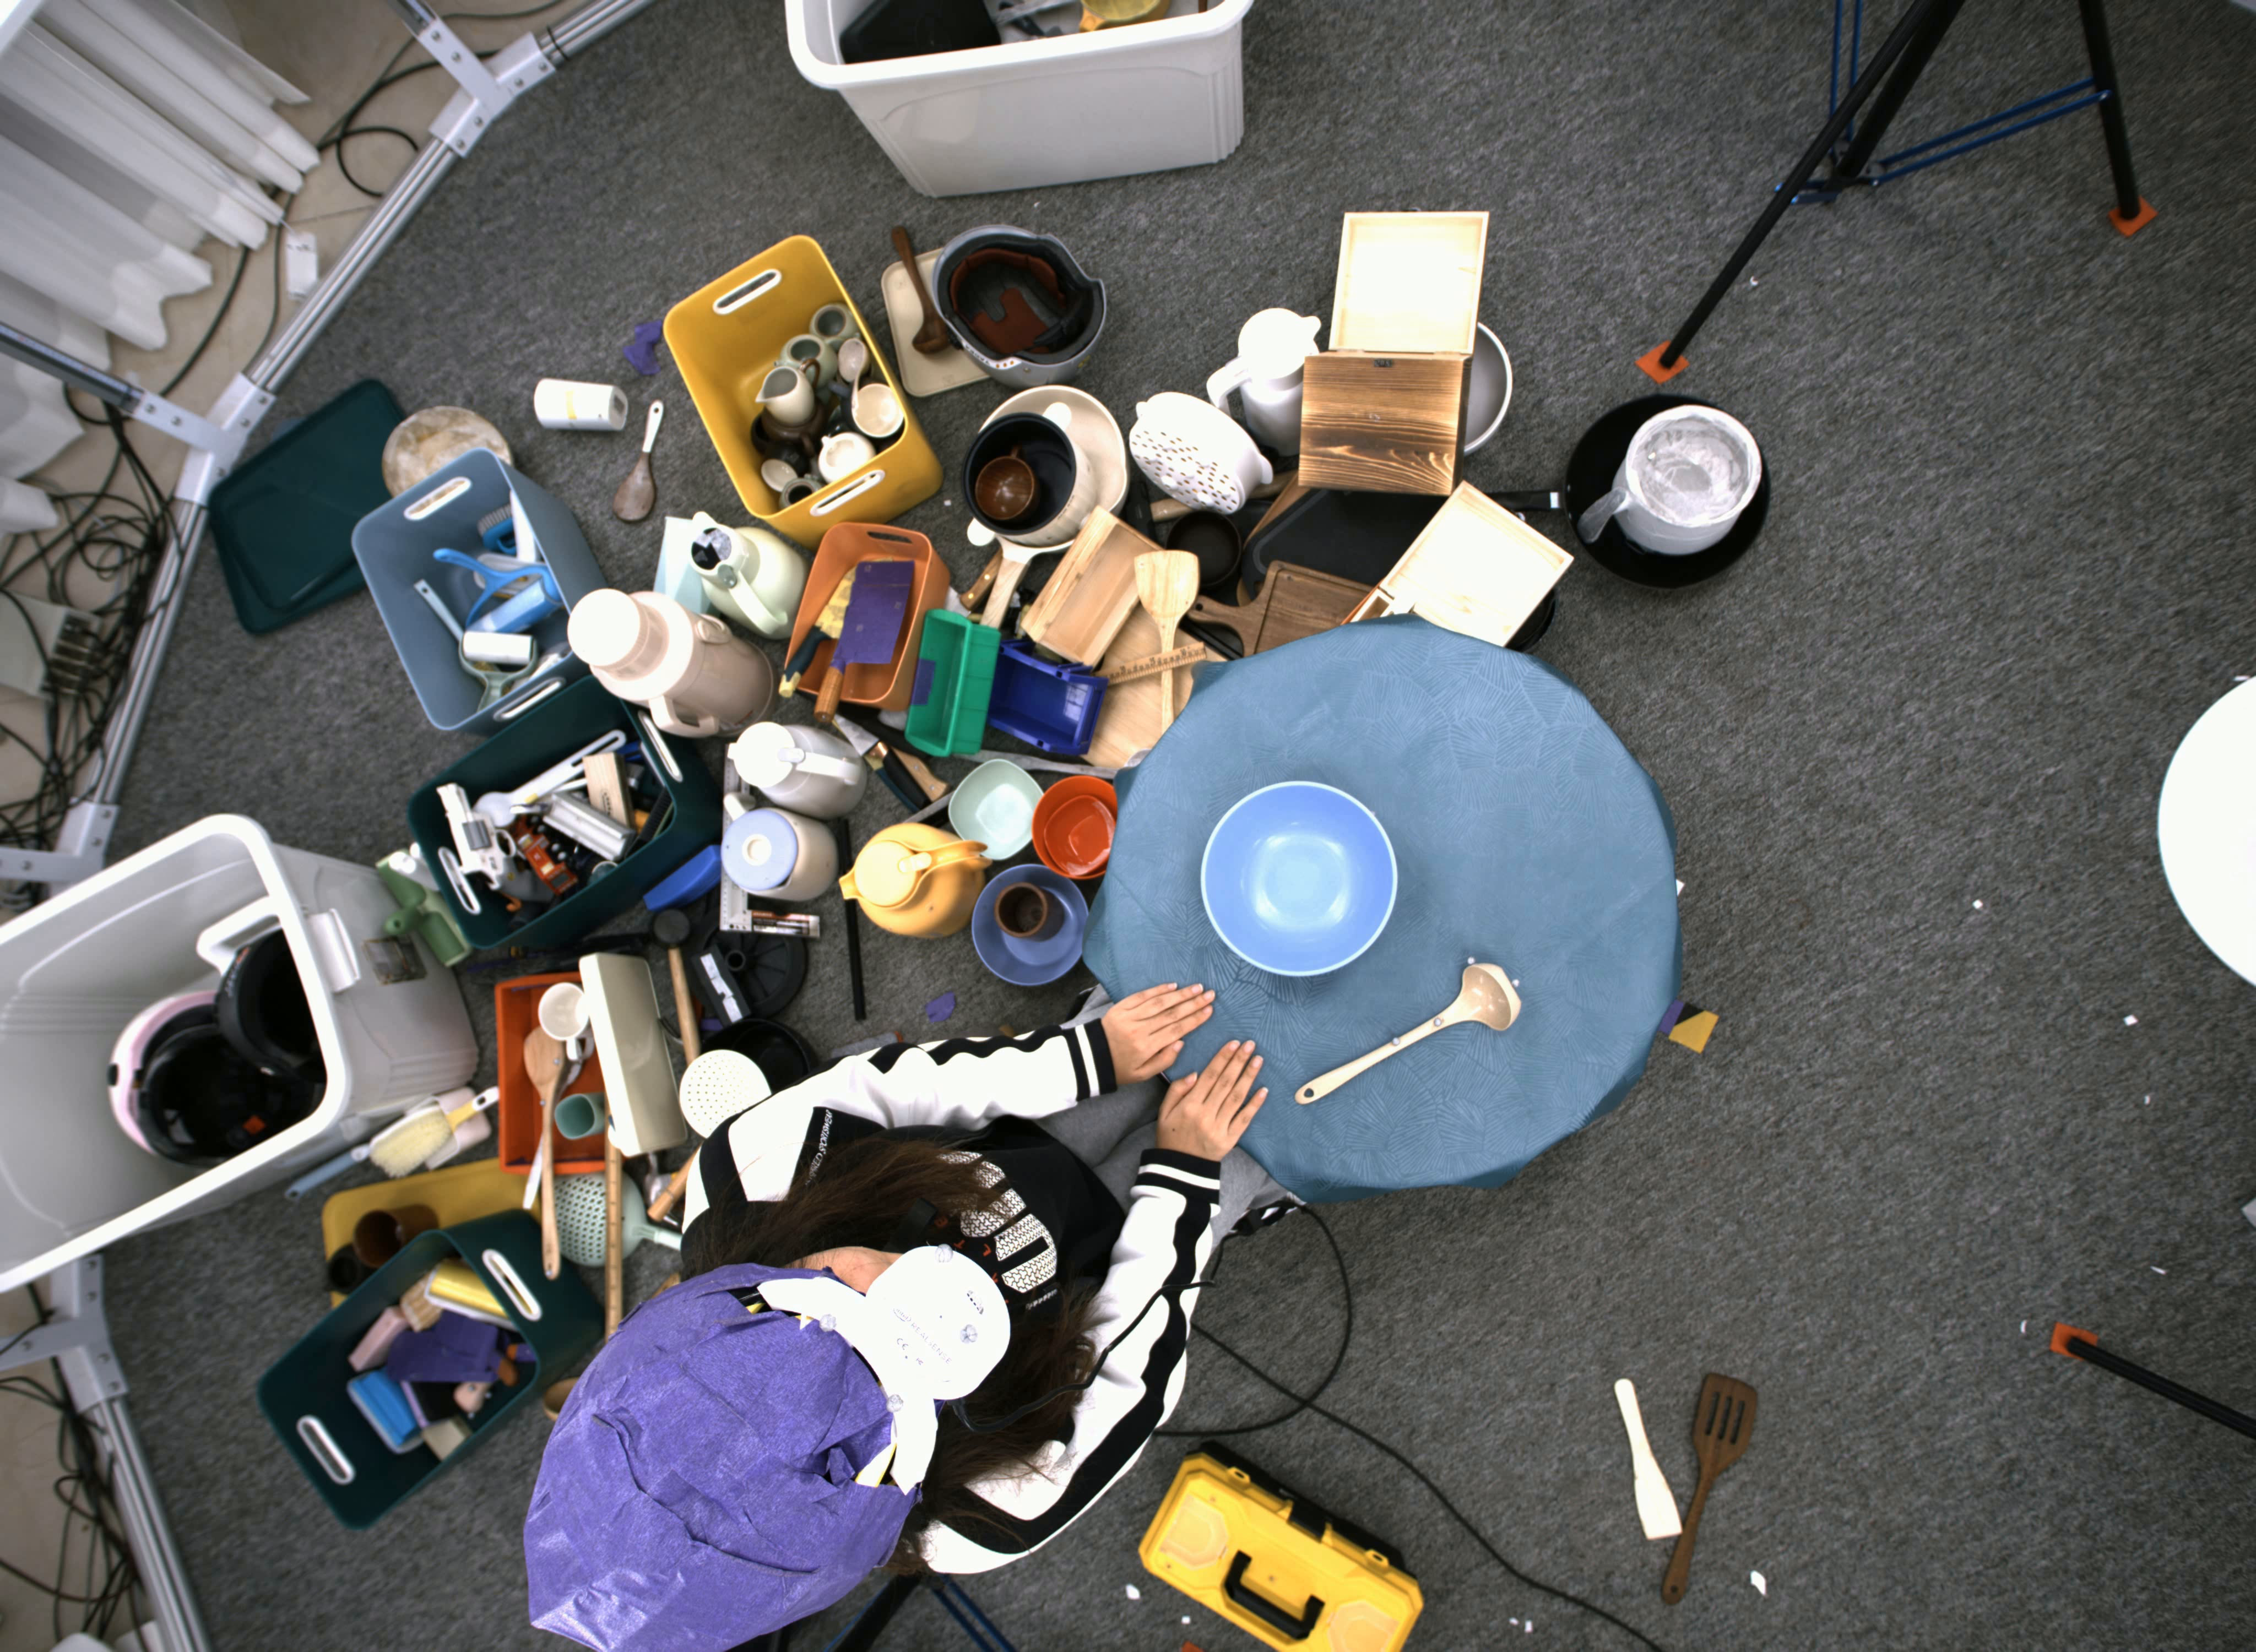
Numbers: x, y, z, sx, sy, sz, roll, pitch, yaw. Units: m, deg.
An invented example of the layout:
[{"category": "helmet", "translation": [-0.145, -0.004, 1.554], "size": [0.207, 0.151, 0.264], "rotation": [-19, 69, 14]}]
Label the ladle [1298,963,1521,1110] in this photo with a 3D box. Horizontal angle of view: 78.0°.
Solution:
[{"category": "ladle", "translation": [0.282, 0.223, 1.413], "size": [0.256, 0.073, 0.071], "rotation": [-32, 80, 7]}]

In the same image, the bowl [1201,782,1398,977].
[{"category": "bowl", "translation": [0.178, 0.056, 1.434], "size": [0.197, 0.095, 0.196], "rotation": [-1, 88, 10]}]
